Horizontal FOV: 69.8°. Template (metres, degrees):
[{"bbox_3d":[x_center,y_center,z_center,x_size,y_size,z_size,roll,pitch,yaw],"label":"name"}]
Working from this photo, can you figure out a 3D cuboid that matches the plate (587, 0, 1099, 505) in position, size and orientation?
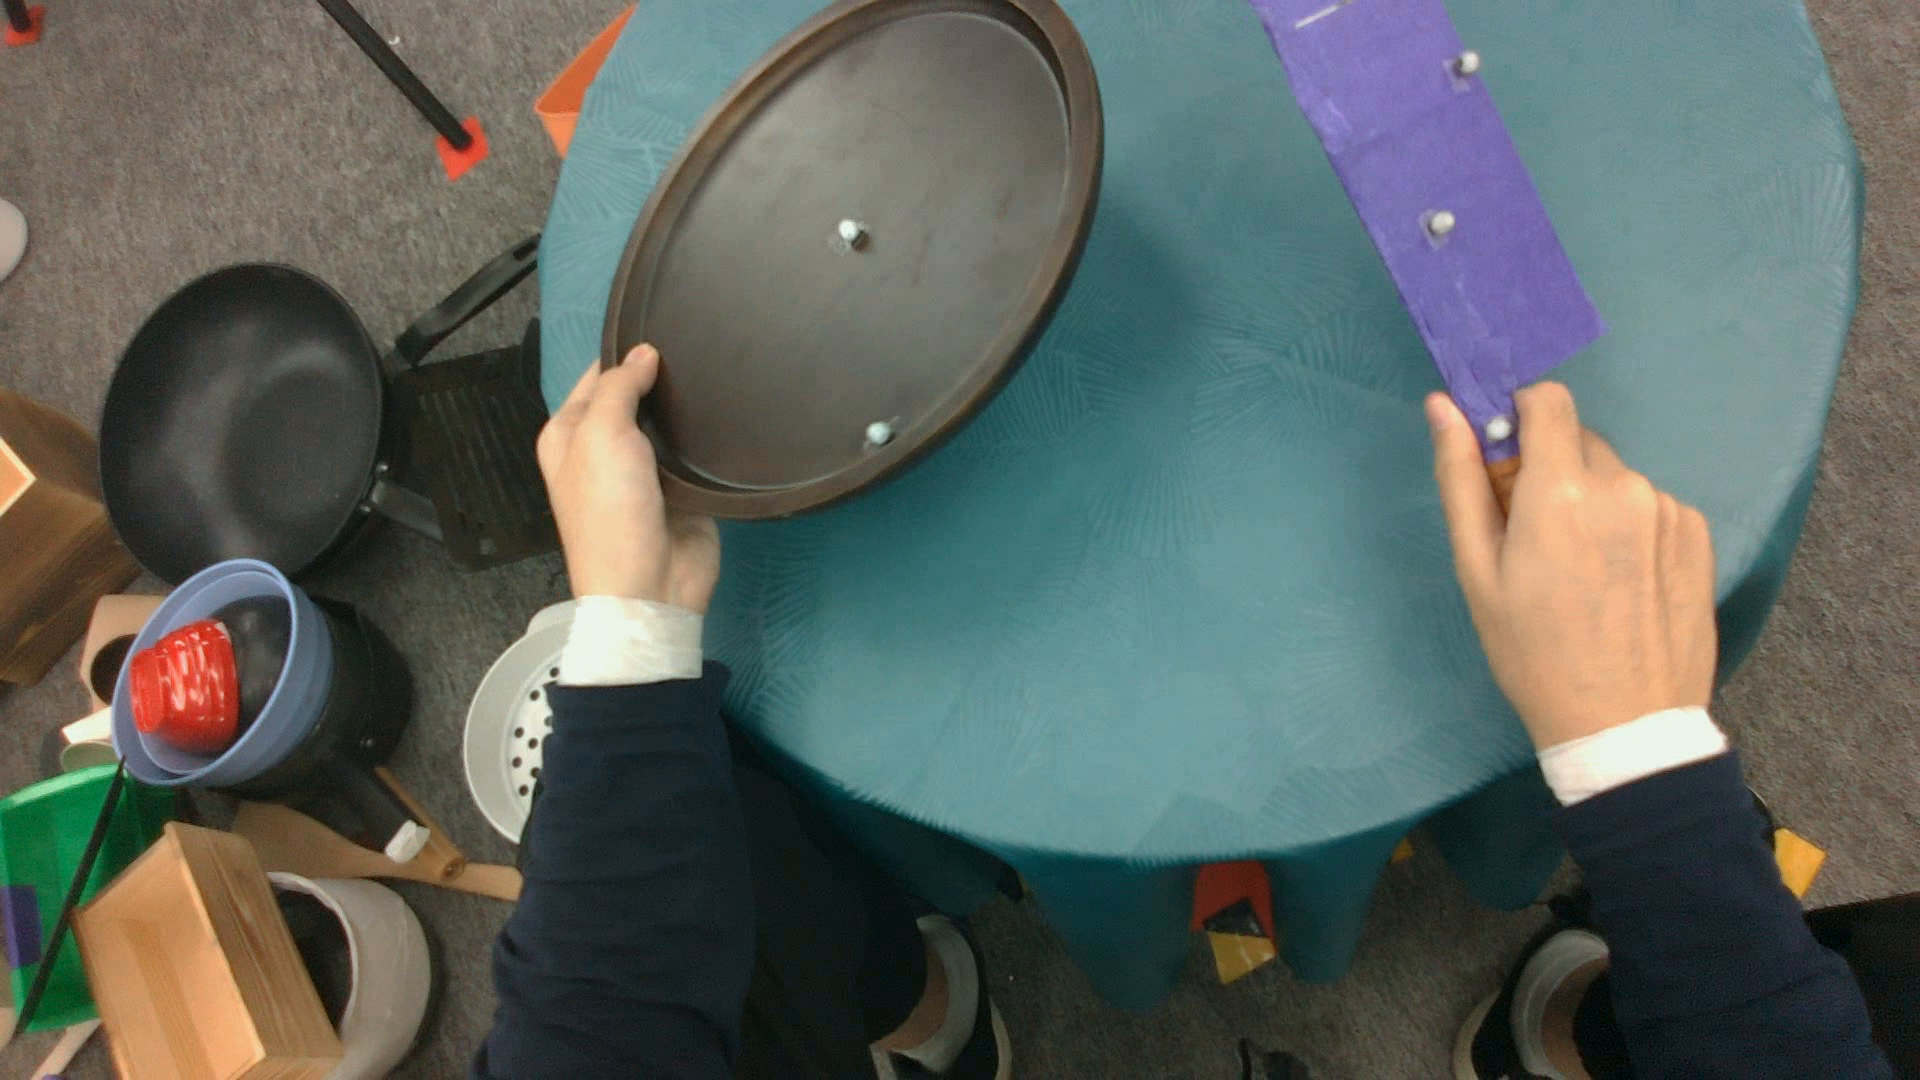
[{"bbox_3d":[-0.056,-0.129,0.570,0.254,0.029,0.256,-14,60,26],"label":"plate"}]

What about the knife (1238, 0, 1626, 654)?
[{"bbox_3d":[0.188,-0.115,0.520,0.104,0.032,0.315,-29,94,-27],"label":"knife"}]
